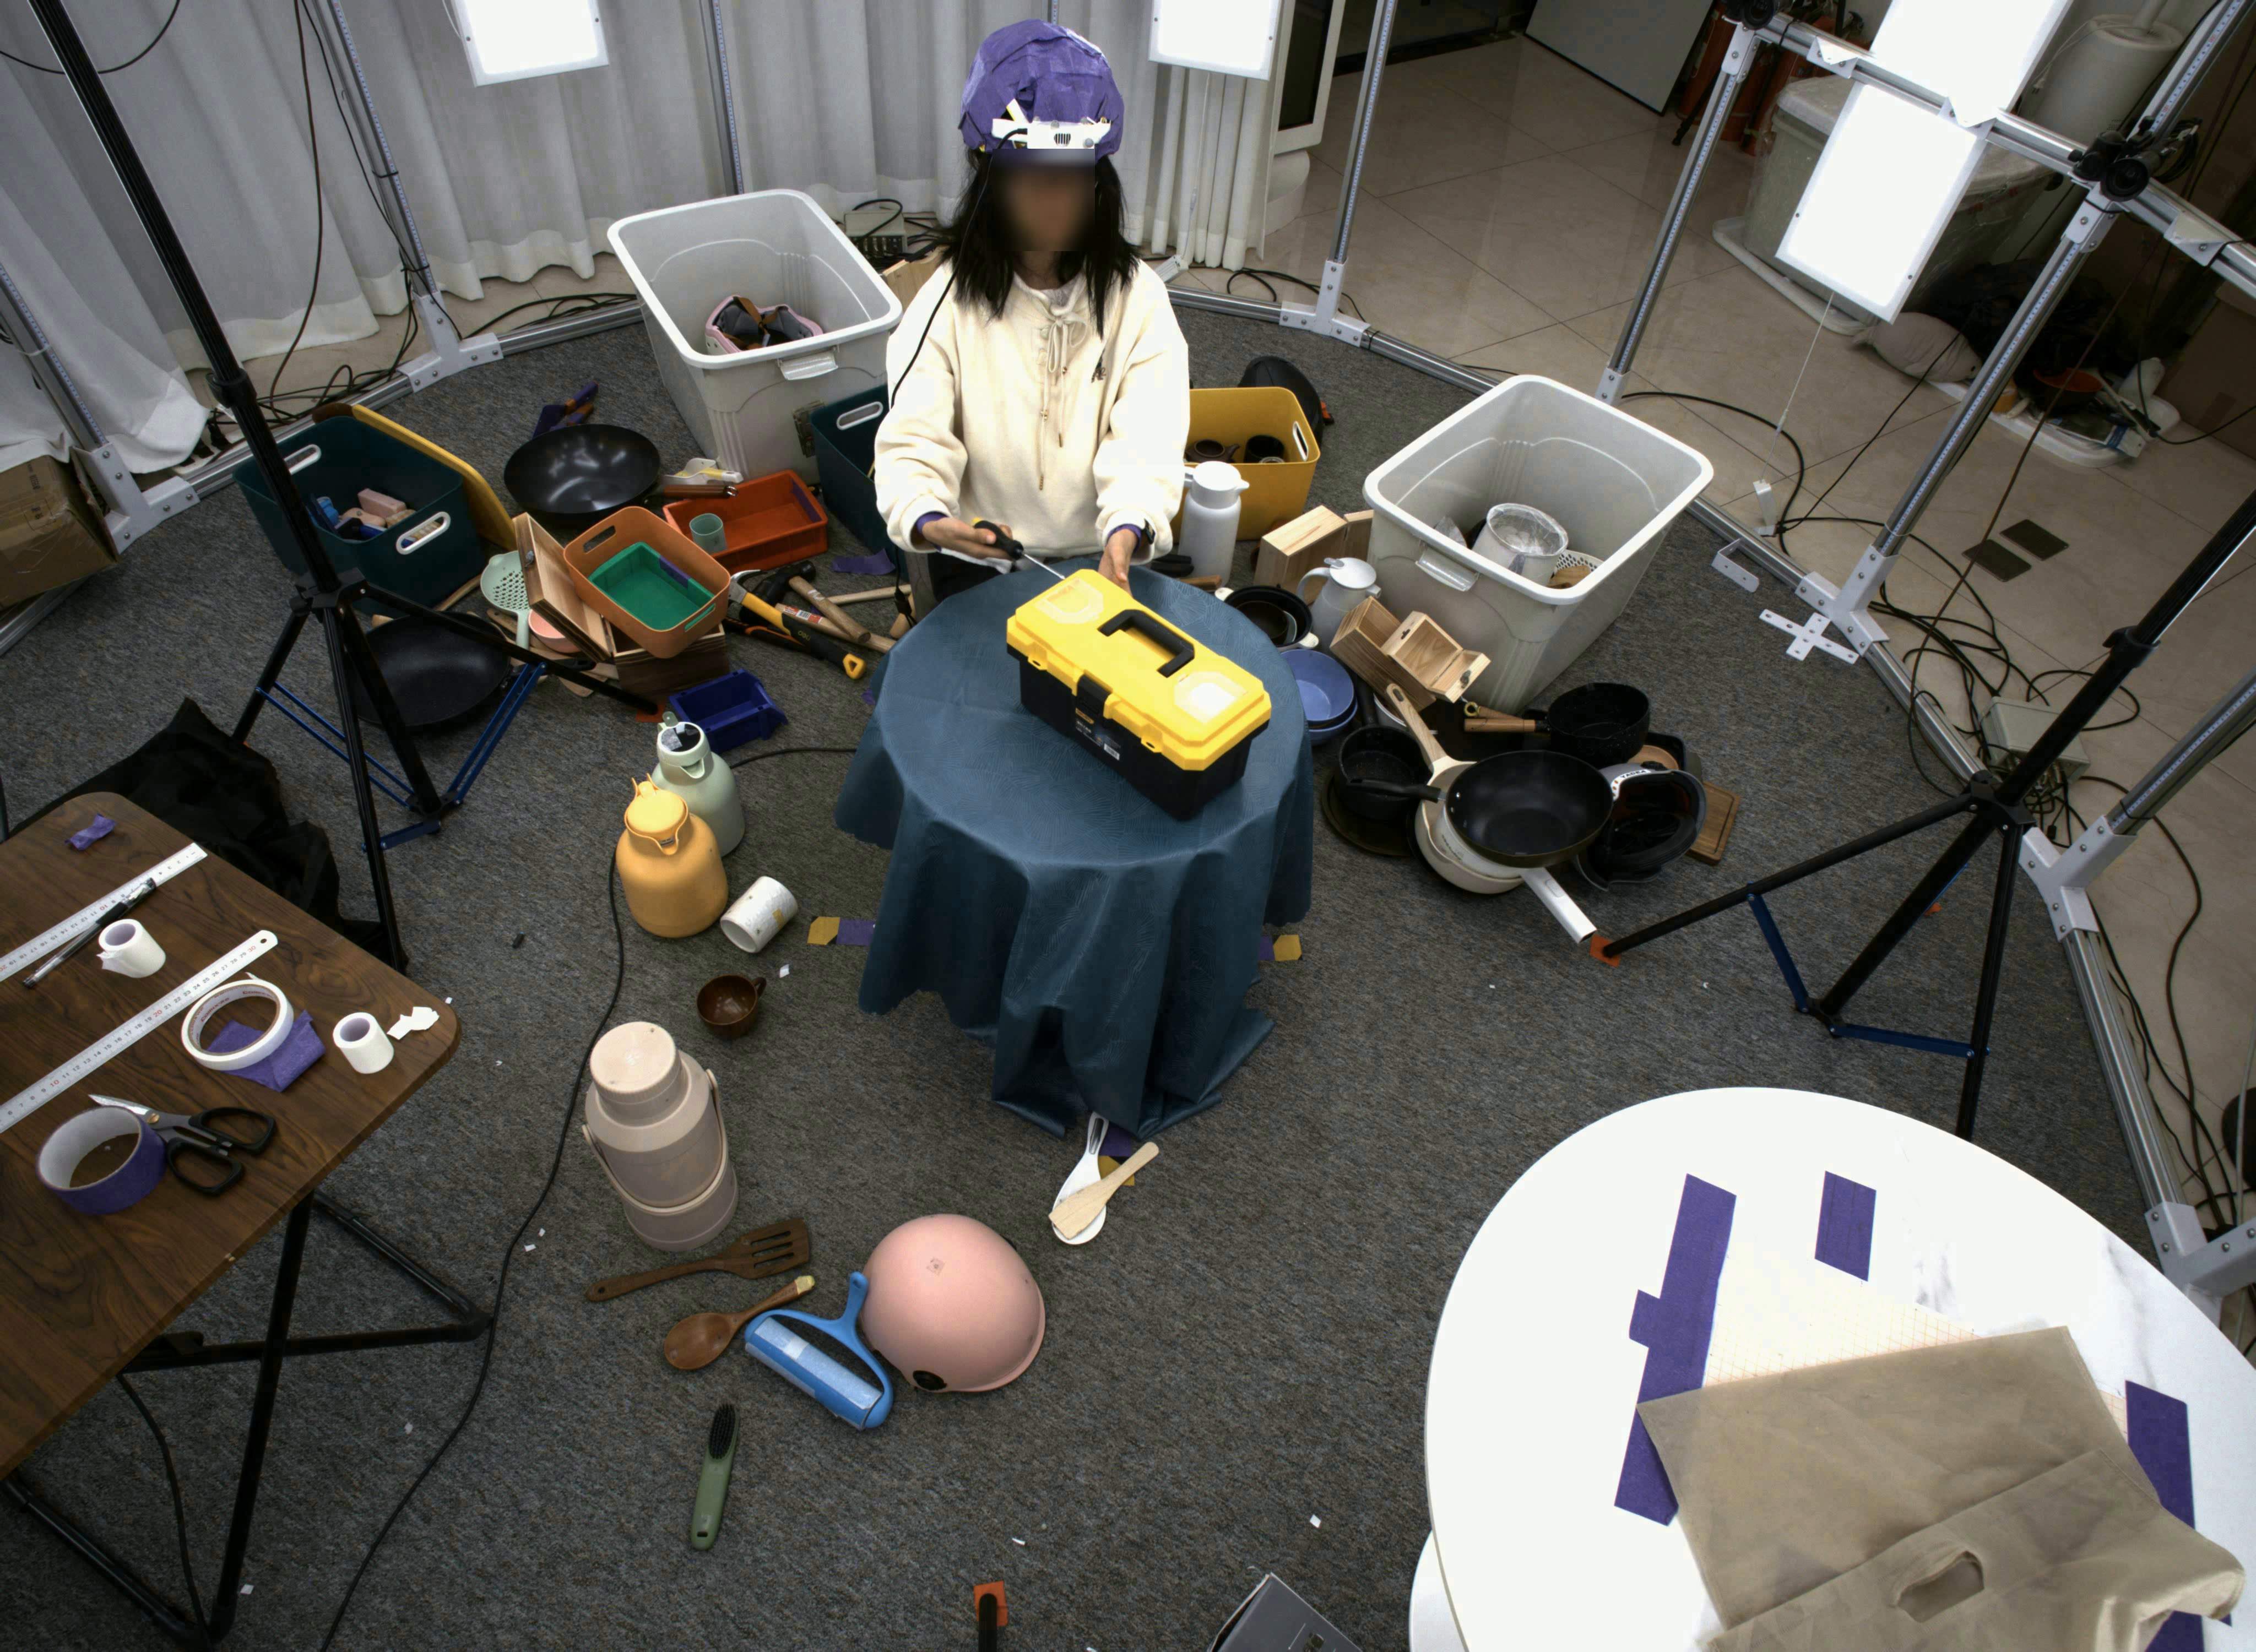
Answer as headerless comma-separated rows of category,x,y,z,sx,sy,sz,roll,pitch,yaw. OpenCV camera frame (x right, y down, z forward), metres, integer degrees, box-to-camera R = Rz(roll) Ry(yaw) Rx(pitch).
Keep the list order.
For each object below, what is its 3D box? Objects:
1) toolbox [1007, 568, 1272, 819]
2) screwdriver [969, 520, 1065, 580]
toolbox,0.007,-0.176,1.711,0.356,0.168,0.183,38,57,25
screwdriver,-0.152,-0.378,1.788,0.032,0.030,0.199,-34,55,-29
